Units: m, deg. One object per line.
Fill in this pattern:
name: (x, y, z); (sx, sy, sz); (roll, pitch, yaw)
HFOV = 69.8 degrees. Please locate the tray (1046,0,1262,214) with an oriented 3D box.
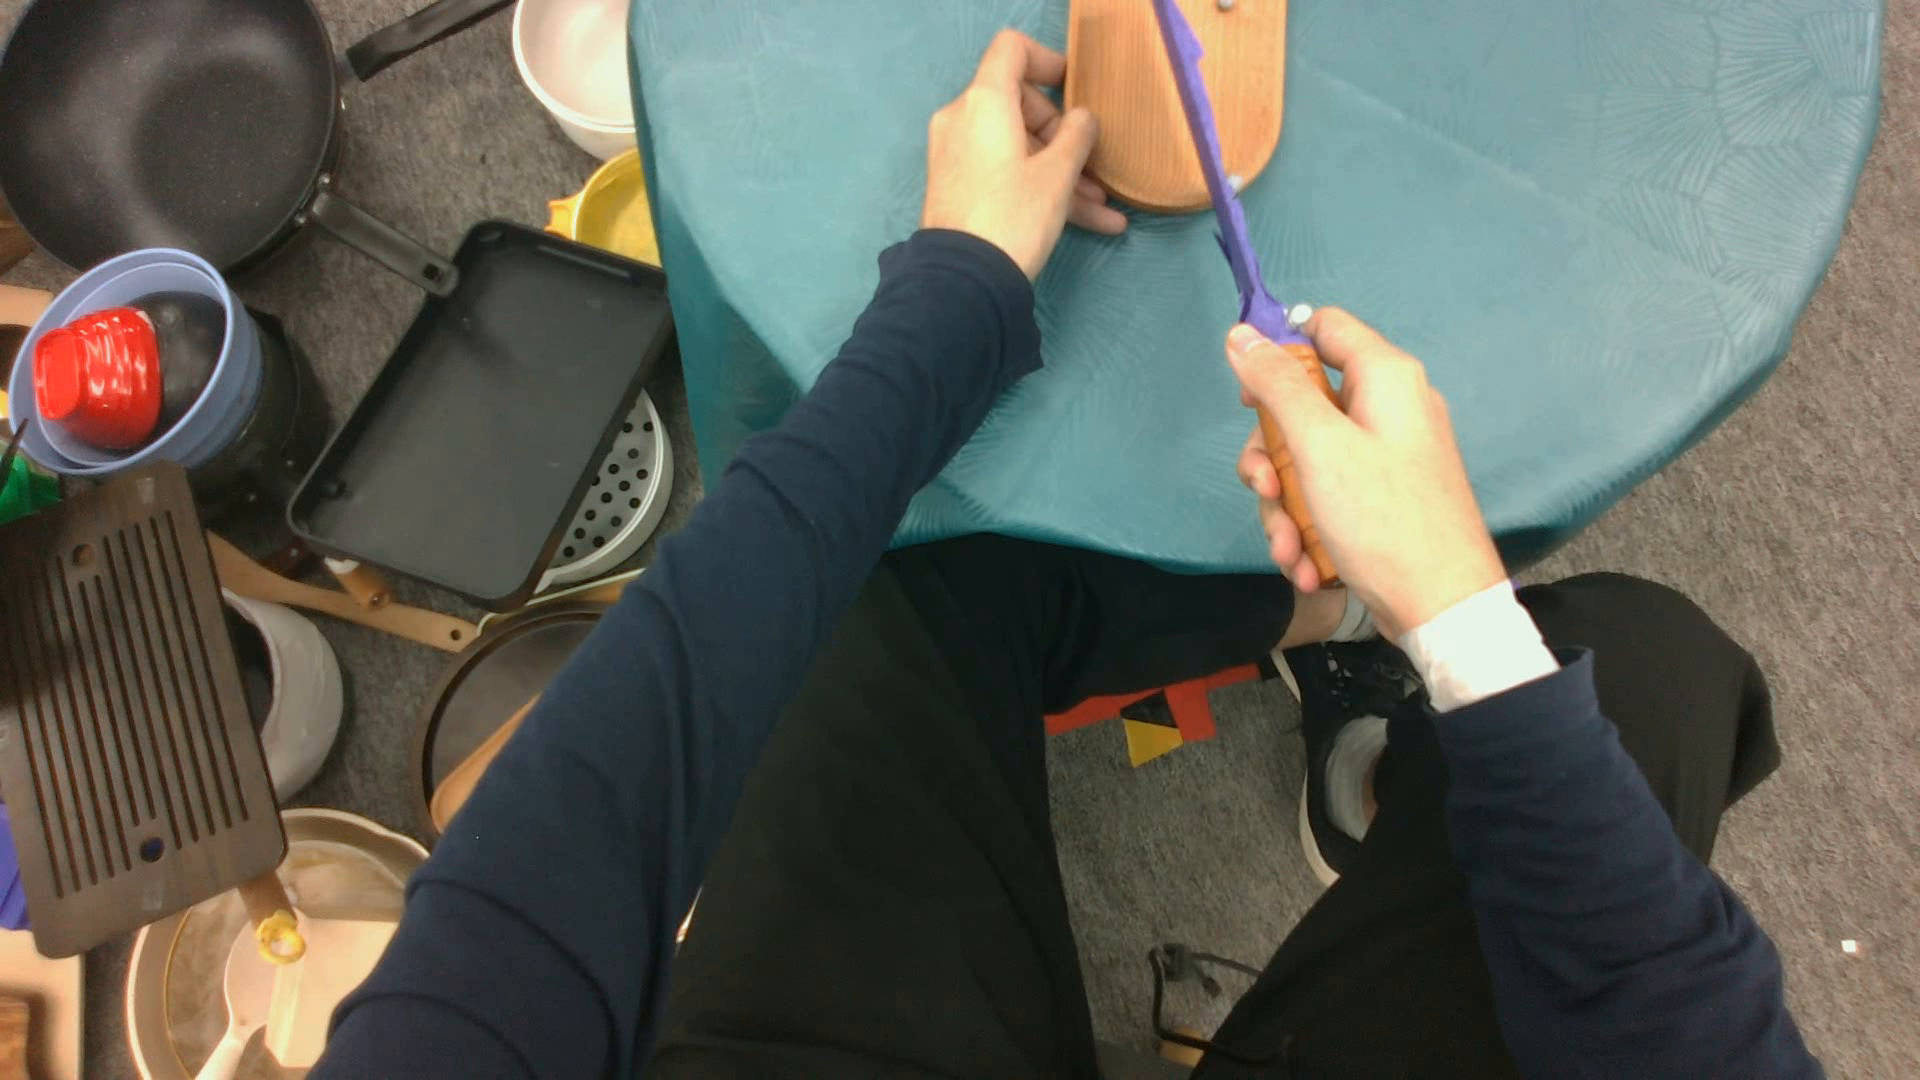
tray: (0.093, -0.264, 0.658); (0.102, 0.020, 0.231); (3, 80, -1)

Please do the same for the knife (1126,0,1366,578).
knife: (0.108, -0.132, 0.571); (0.032, 0.104, 0.316); (-16, 74, 12)
